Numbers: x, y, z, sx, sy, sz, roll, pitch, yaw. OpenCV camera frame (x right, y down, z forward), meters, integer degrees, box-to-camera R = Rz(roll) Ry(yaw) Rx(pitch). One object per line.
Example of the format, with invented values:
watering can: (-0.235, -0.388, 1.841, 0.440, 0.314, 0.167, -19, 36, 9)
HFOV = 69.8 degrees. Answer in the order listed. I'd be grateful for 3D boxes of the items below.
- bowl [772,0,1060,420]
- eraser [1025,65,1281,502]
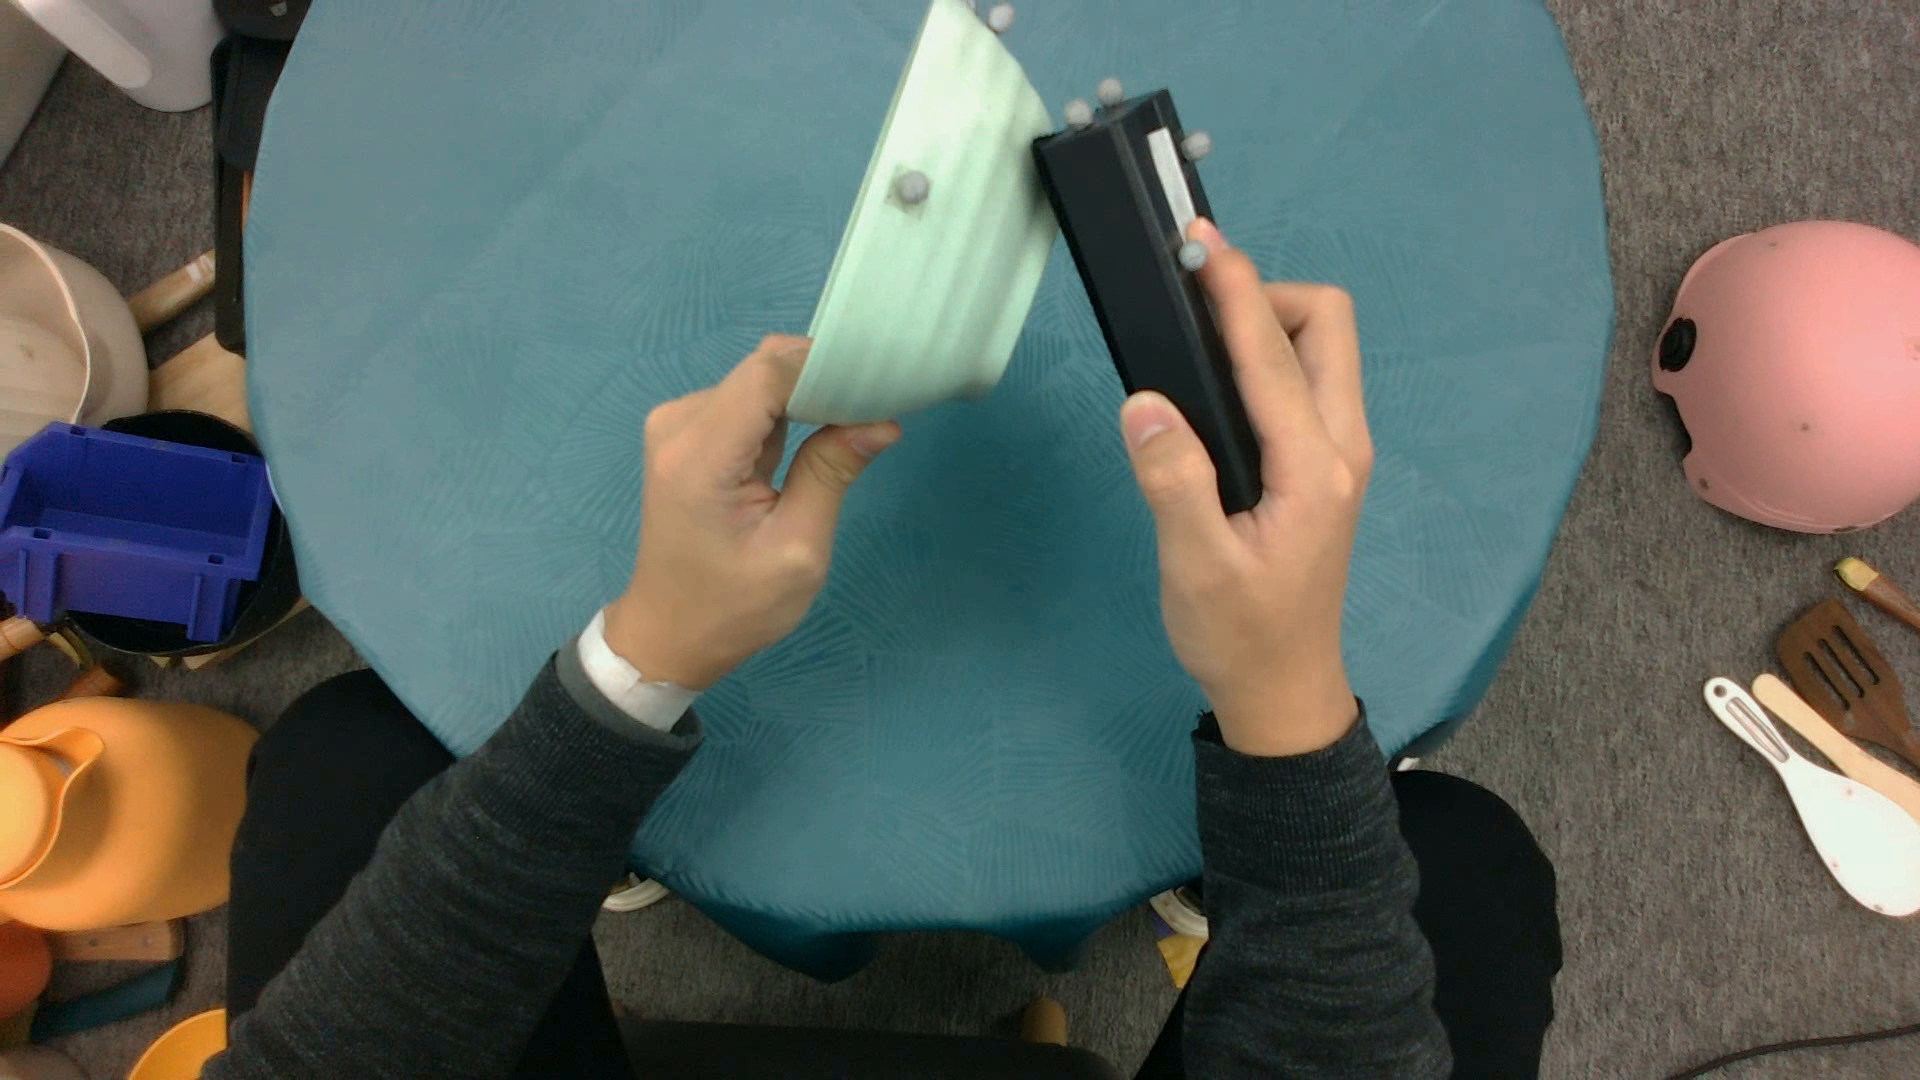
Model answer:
bowl: (-0.008, -0.095, 0.451, 0.058, 0.151, 0.151, 23, 80, -11)
eraser: (0.062, -0.077, 0.425, 0.030, 0.054, 0.125, -10, 114, 34)
